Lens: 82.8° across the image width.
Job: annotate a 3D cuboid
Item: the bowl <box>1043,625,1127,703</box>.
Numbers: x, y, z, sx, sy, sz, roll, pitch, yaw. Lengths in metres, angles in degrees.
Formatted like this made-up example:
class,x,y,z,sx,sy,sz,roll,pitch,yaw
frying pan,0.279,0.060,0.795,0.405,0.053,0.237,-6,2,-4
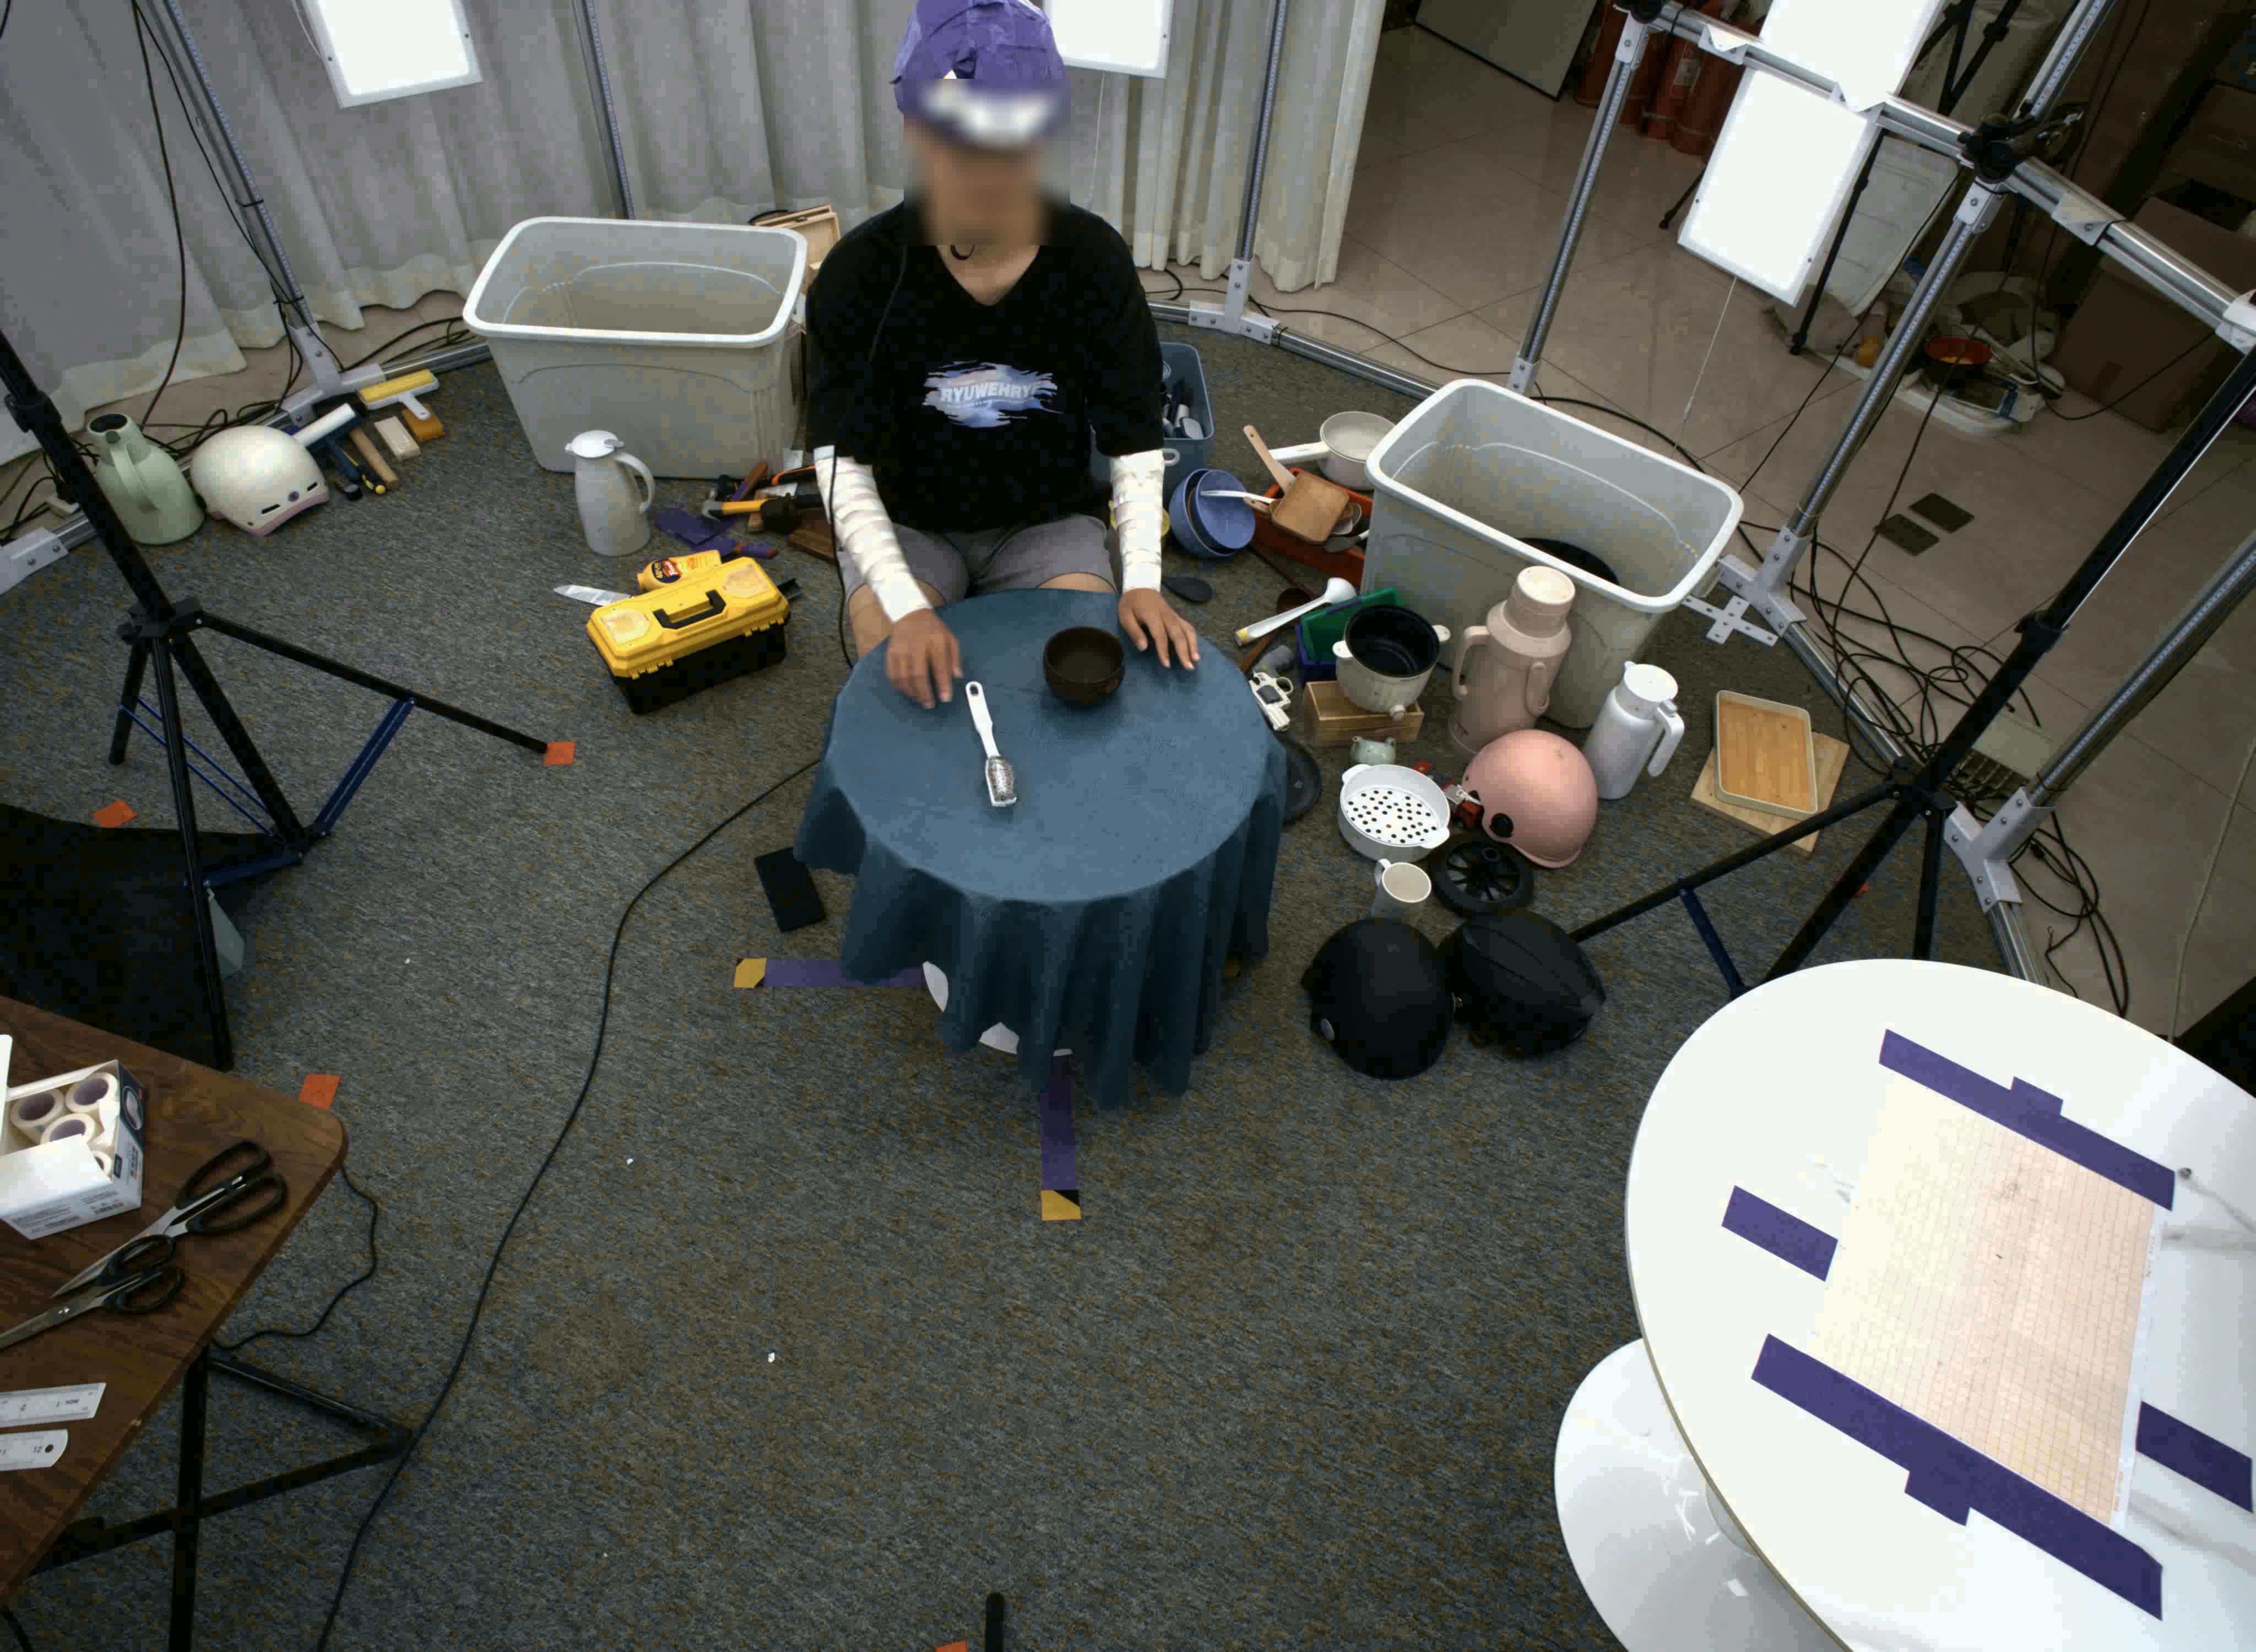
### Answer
class,x,y,z,sx,sy,sz,roll,pitch,yaw
bowl,-0.061,-0.221,1.812,0.118,0.068,0.121,1,48,-1

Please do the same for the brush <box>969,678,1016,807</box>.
class,x,y,z,sx,sy,sz,roll,pitch,yaw
brush,-0.187,-0.126,1.738,0.034,0.049,0.250,-7,51,-12
